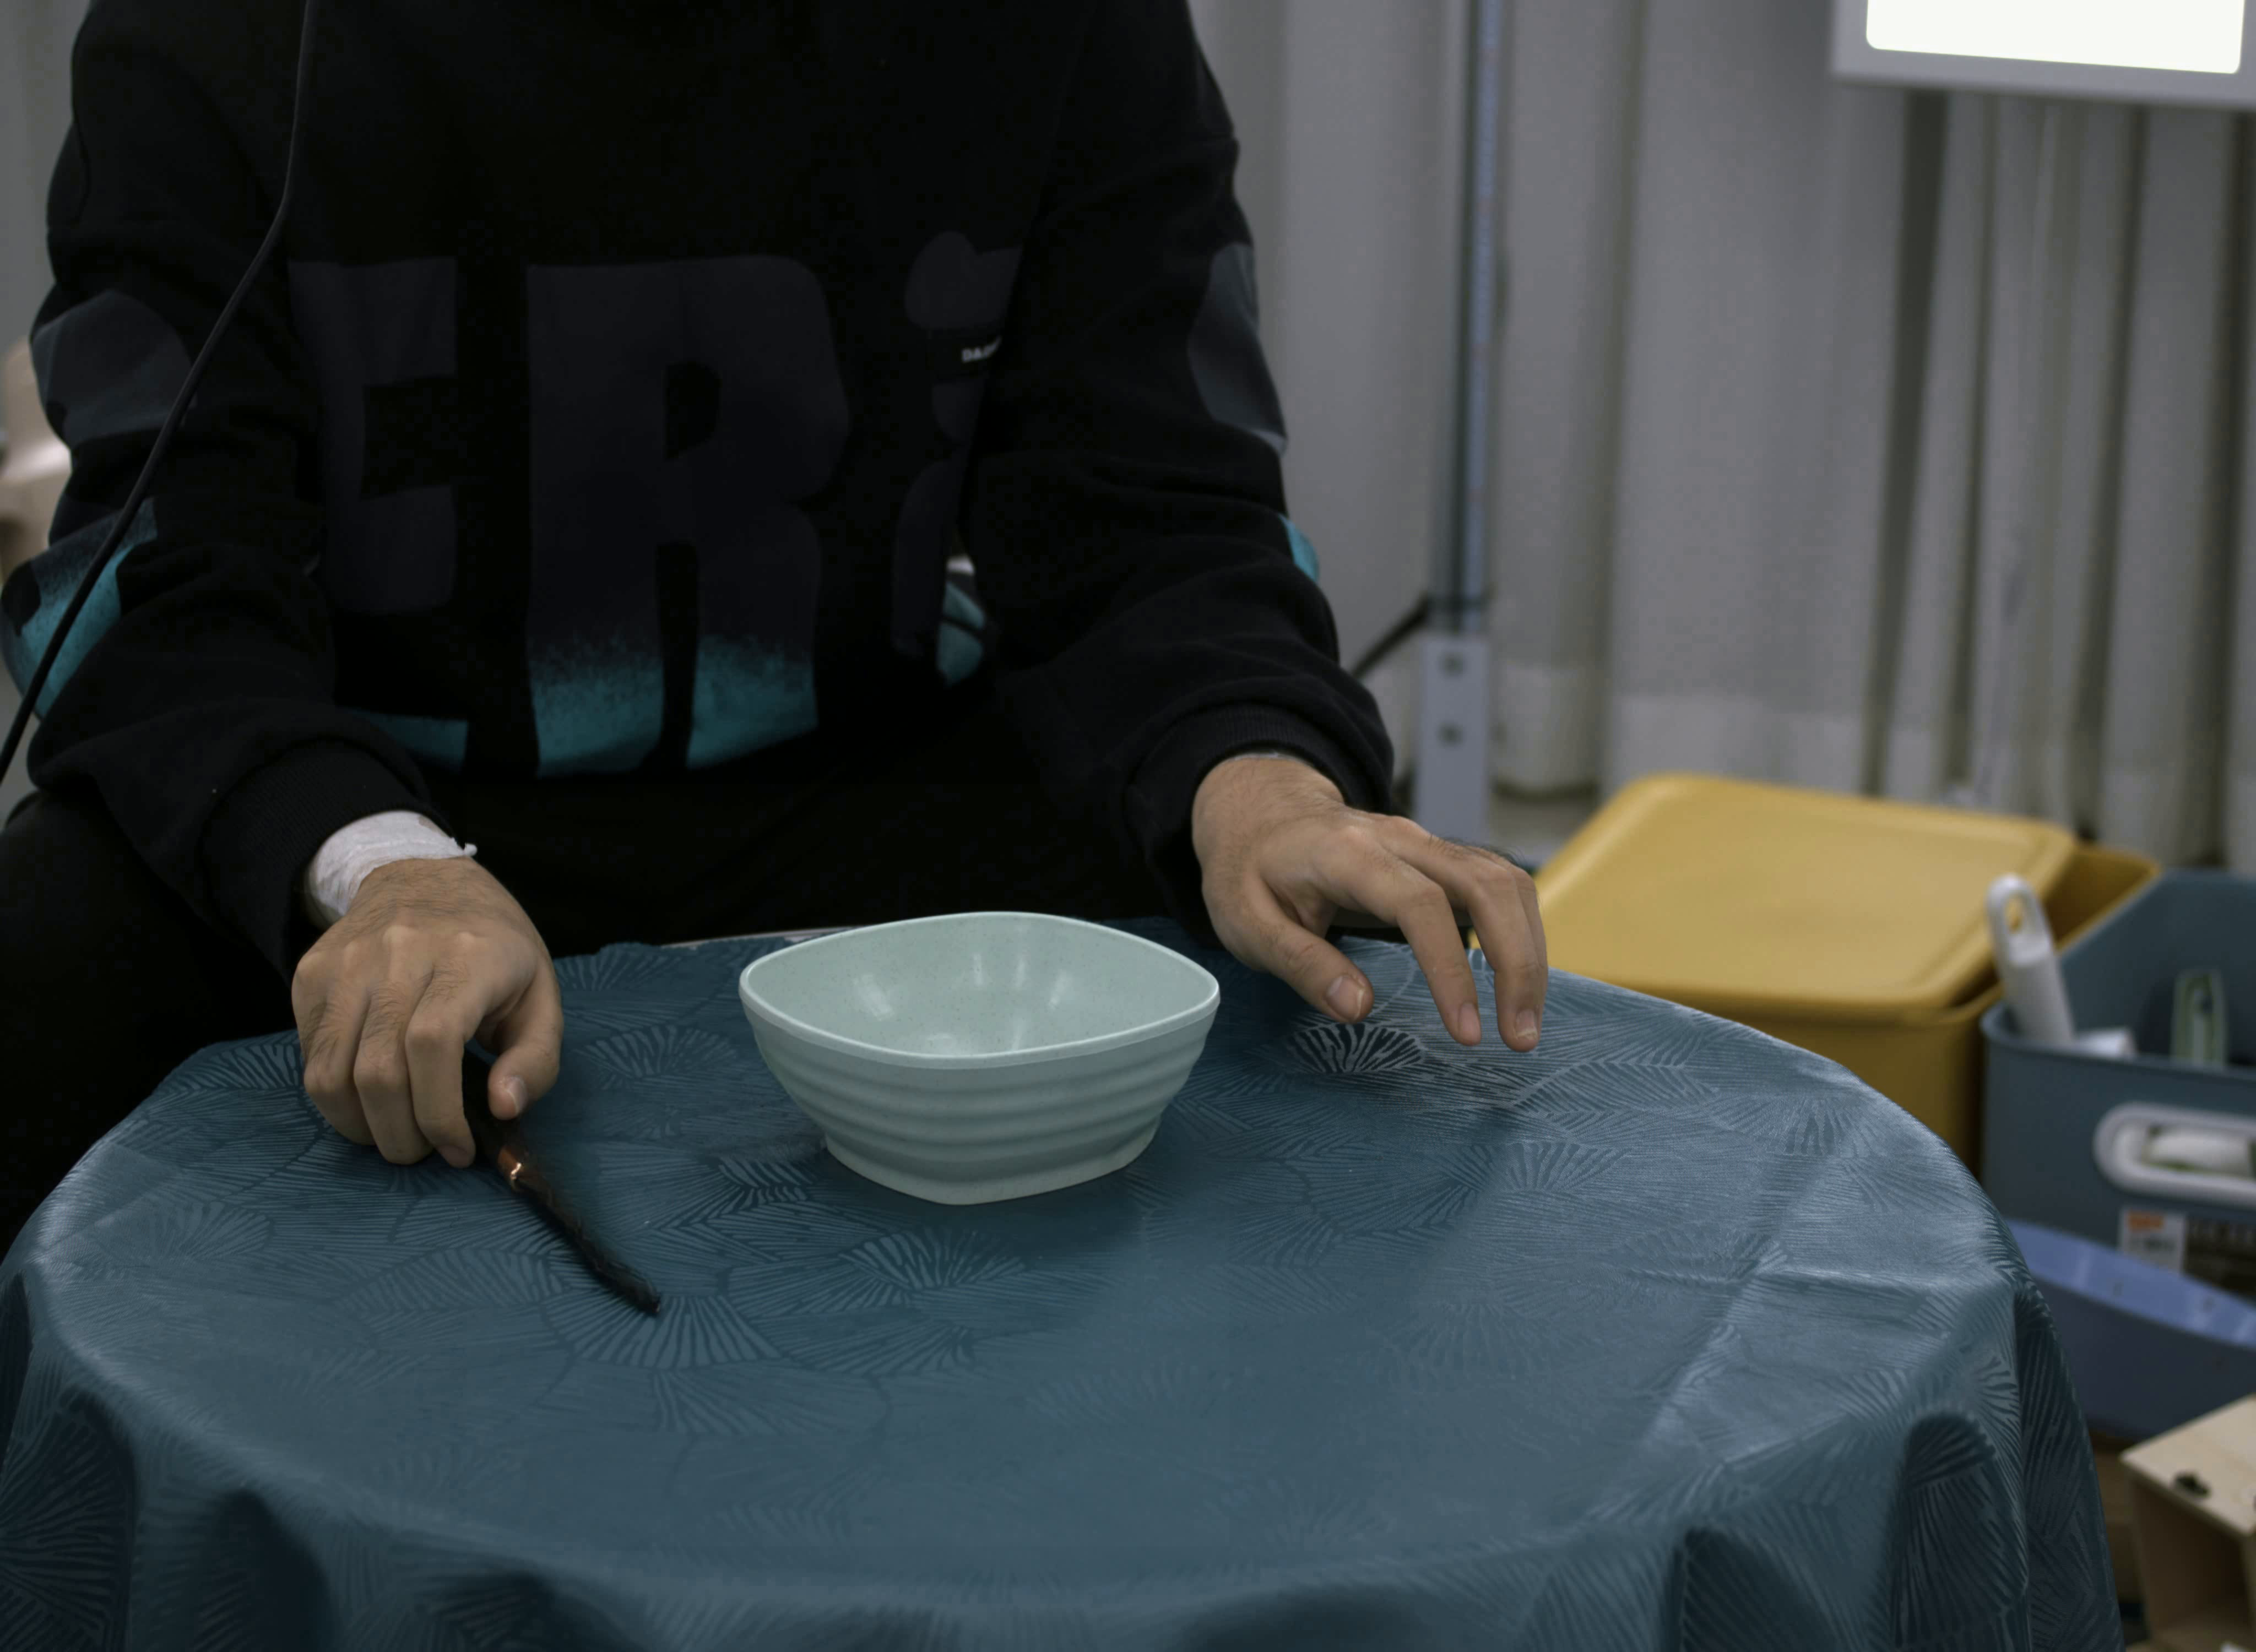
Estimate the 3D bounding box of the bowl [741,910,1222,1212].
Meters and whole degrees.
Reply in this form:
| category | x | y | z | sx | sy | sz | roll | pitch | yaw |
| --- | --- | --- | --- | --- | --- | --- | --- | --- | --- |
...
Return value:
| category | x | y | z | sx | sy | sz | roll | pitch | yaw |
| --- | --- | --- | --- | --- | --- | --- | --- | --- | --- |
| bowl | -0.045 | 0.076 | 1.647 | 0.151 | 0.059 | 0.150 | 0 | 17 | 1 |

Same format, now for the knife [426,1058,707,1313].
| category | x | y | z | sx | sy | sz | roll | pitch | yaw |
| --- | --- | --- | --- | --- | --- | --- | --- | --- | --- |
| knife | -0.174 | 0.109 | 1.609 | 0.026 | 0.017 | 0.223 | 5 | 13 | -26 |
